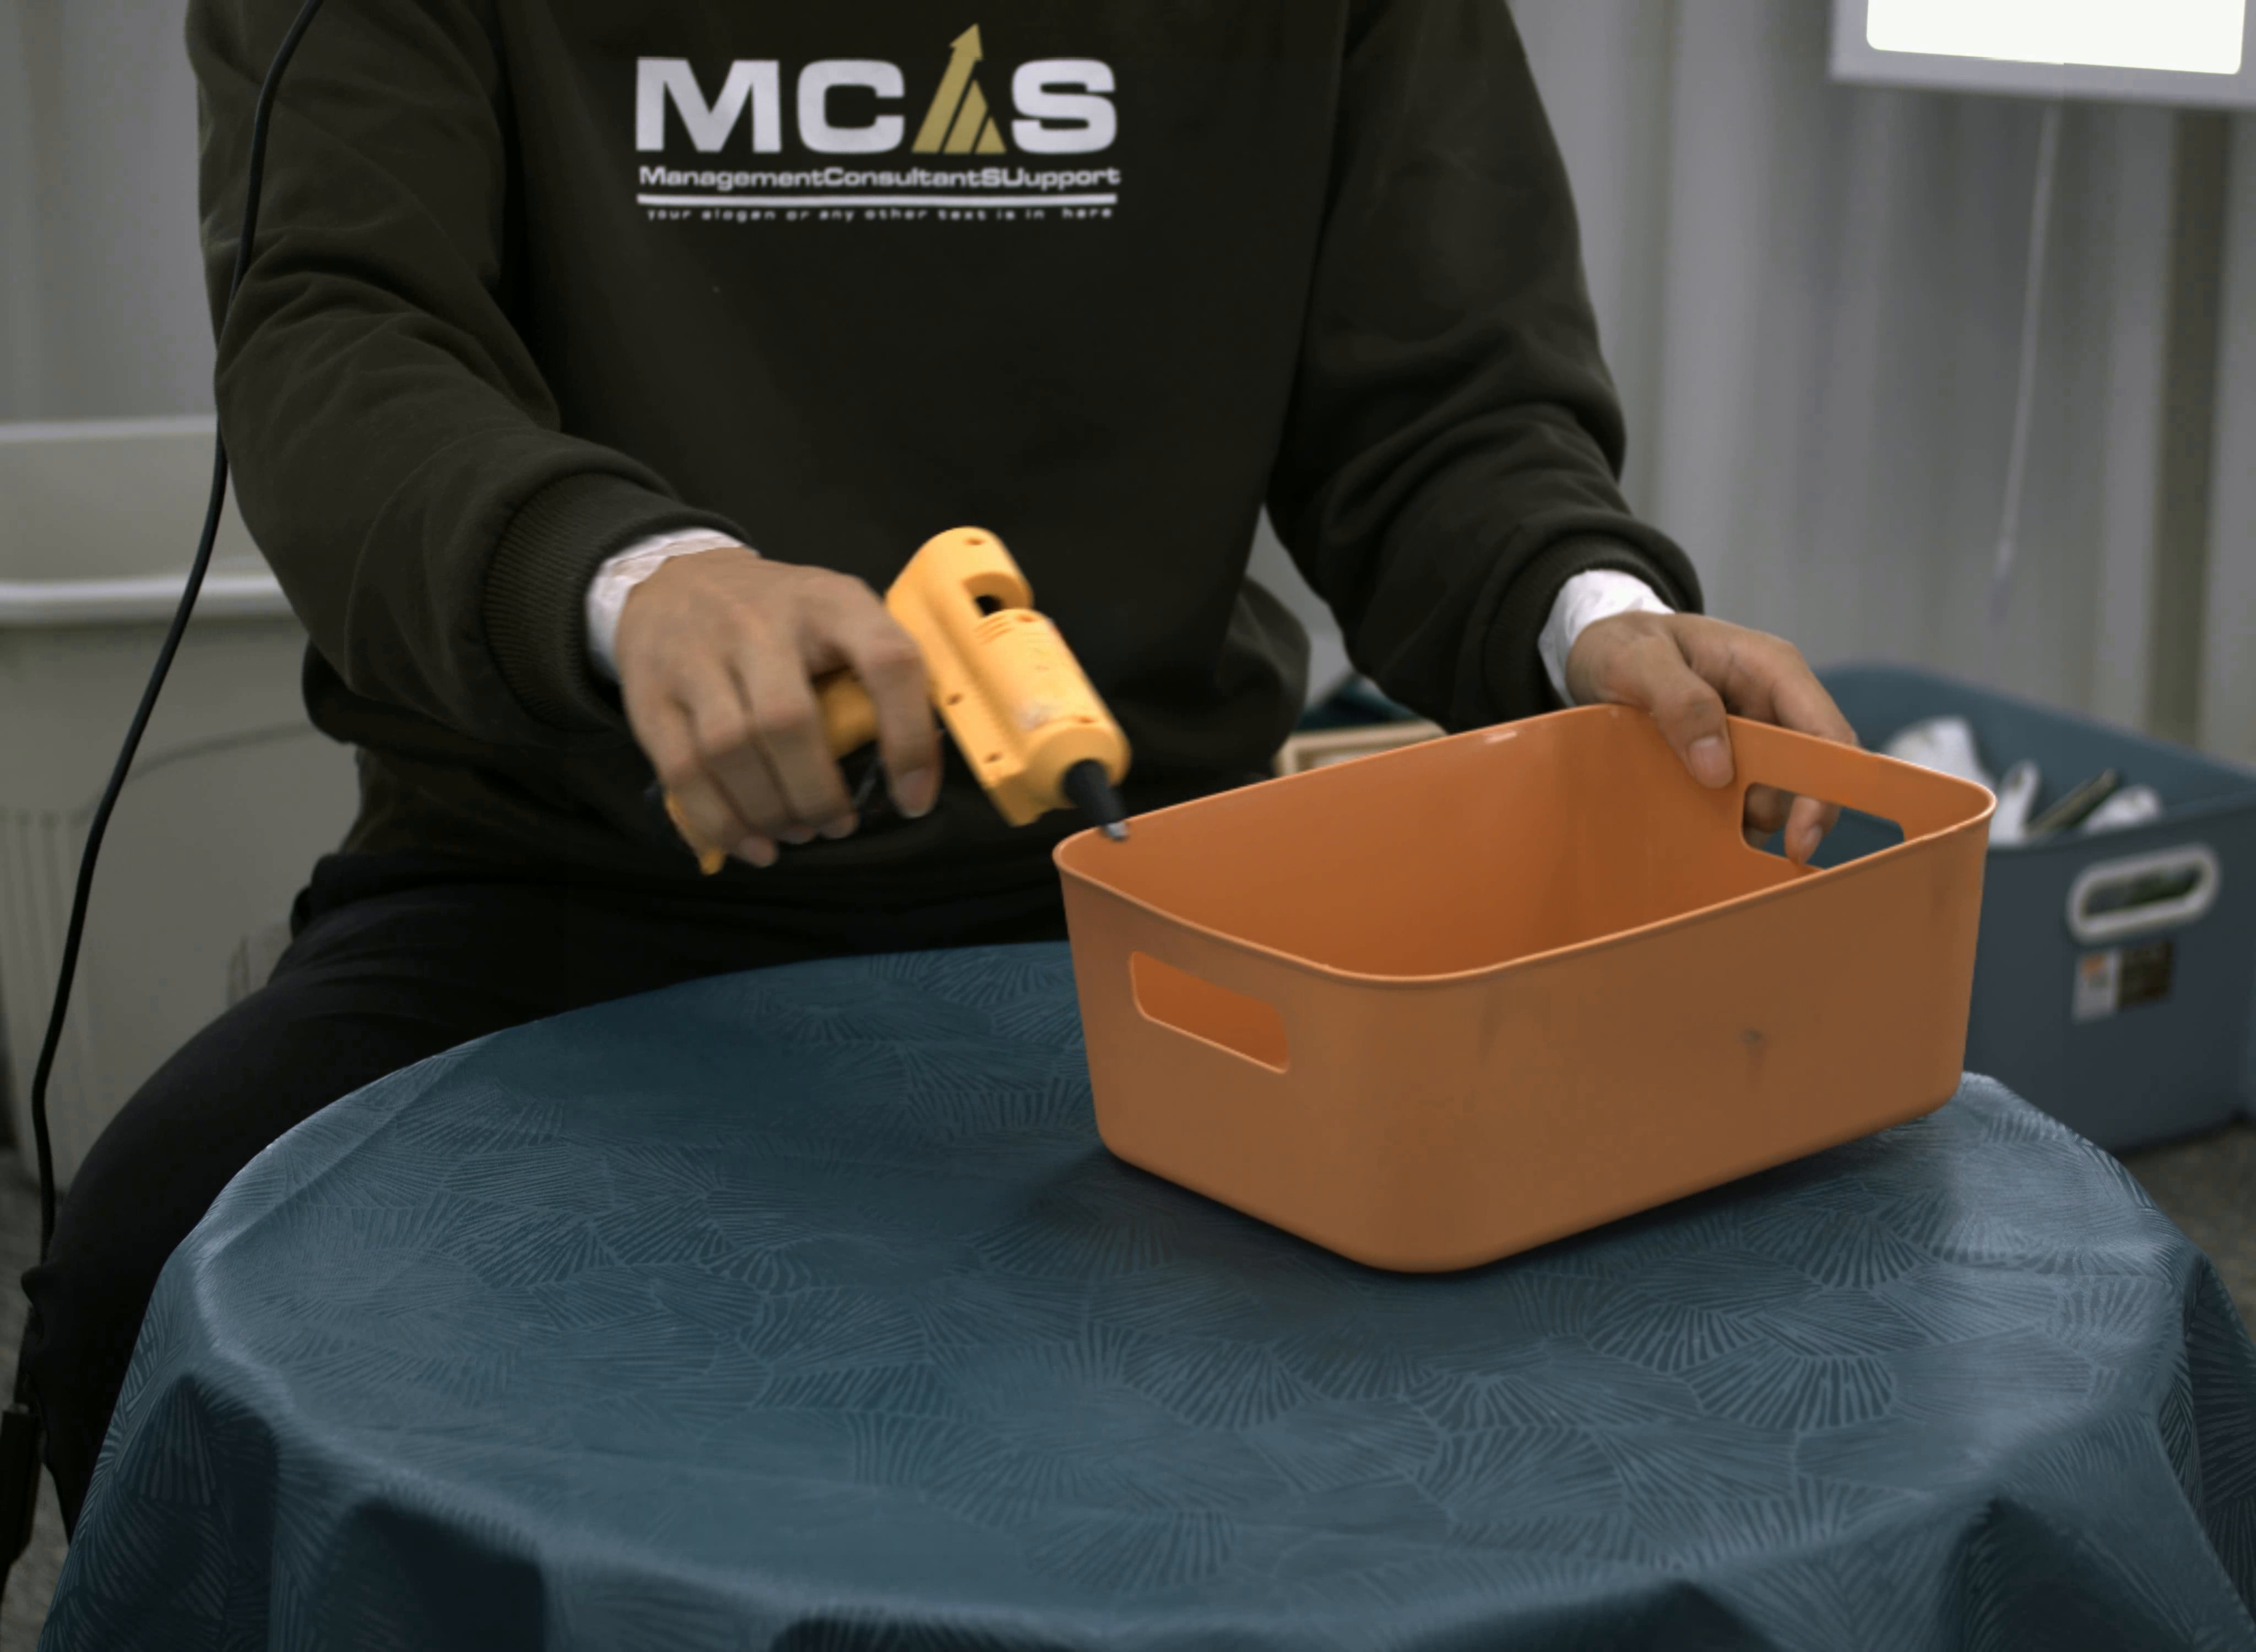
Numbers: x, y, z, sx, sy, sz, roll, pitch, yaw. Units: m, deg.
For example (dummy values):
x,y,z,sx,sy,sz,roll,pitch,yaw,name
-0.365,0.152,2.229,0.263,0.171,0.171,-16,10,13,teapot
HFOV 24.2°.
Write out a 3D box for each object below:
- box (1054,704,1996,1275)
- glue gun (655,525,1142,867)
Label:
x,y,z,sx,sy,sz,roll,pitch,yaw,name
0.127,0.048,1.661,0.274,0.103,0.197,-16,21,-36,box
-0.059,-0.012,1.536,0.133,0.031,0.149,-37,42,-3,glue gun
